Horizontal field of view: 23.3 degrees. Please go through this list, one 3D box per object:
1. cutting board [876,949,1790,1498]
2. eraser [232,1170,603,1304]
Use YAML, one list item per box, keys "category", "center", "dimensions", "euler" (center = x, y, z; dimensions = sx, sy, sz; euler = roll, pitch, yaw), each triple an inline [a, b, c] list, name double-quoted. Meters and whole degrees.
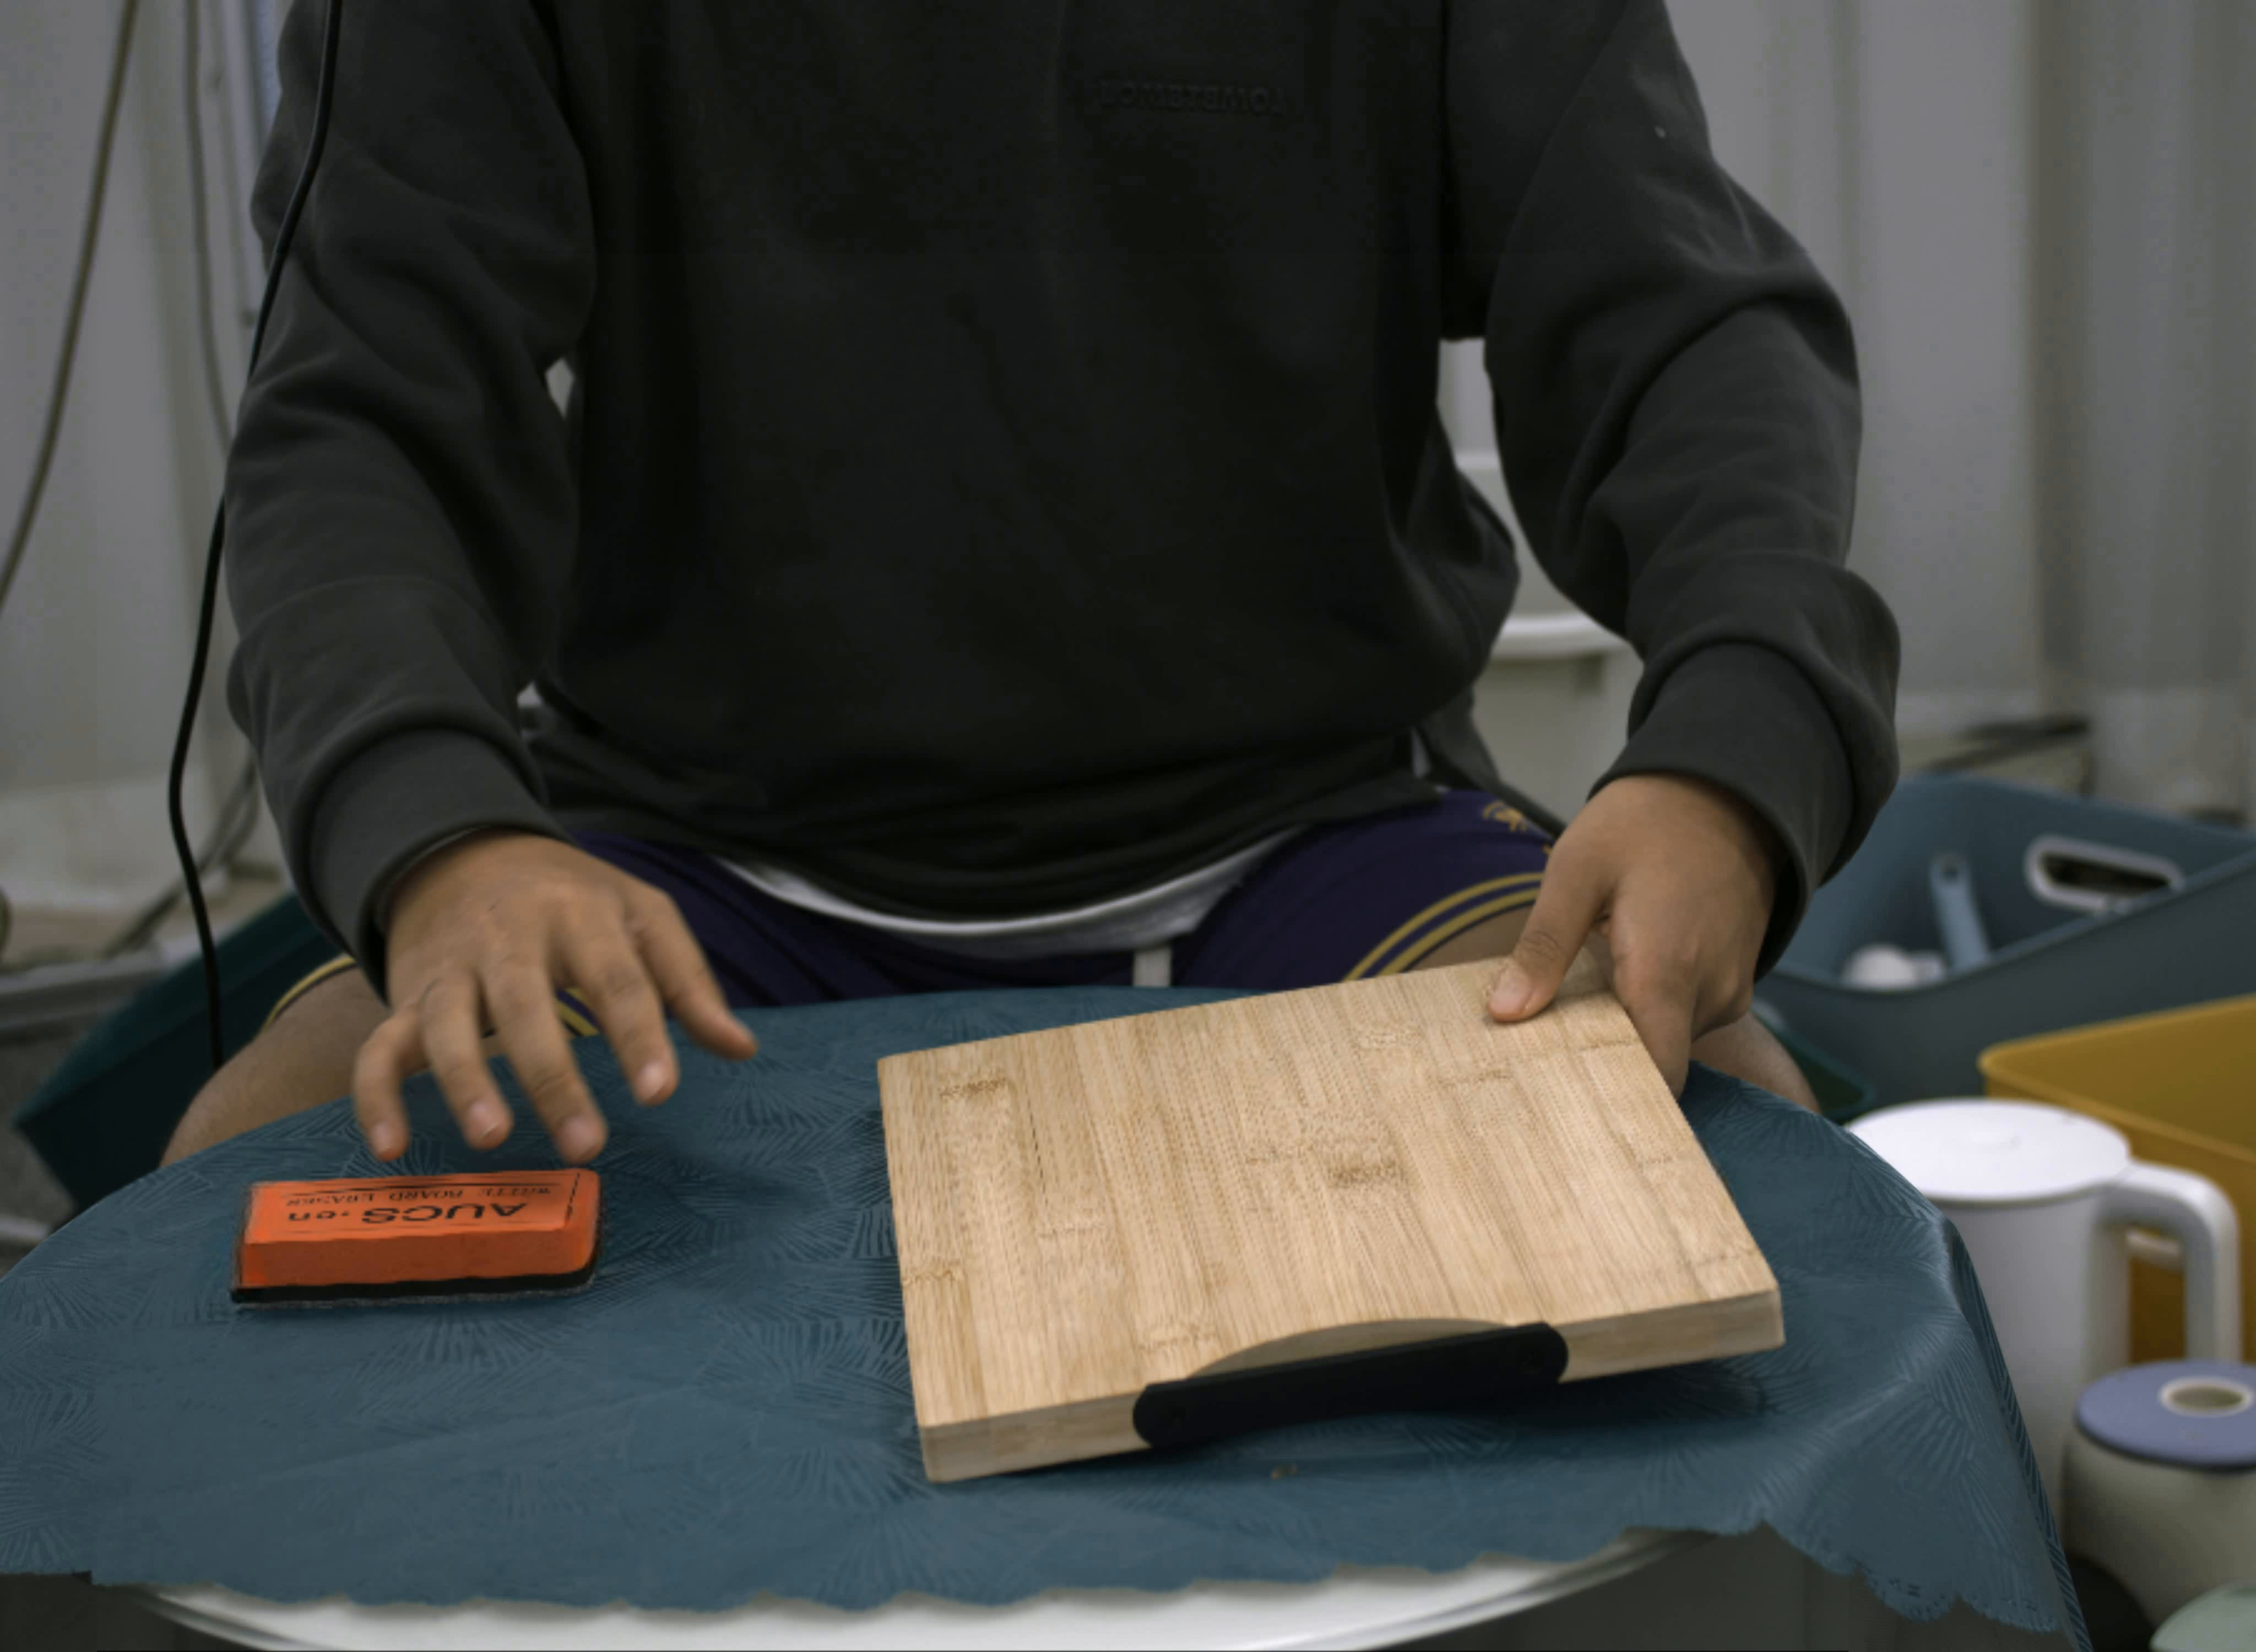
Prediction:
- category: "cutting board"
  center: [0.048, 0.111, 1.644]
  dimensions: [0.250, 0.023, 0.351]
  euler: [-10, 15, -3]
- category: "eraser"
  center: [-0.216, 0.126, 1.671]
  dimensions: [0.108, 0.023, 0.059]
  euler: [-2, 15, 2]
